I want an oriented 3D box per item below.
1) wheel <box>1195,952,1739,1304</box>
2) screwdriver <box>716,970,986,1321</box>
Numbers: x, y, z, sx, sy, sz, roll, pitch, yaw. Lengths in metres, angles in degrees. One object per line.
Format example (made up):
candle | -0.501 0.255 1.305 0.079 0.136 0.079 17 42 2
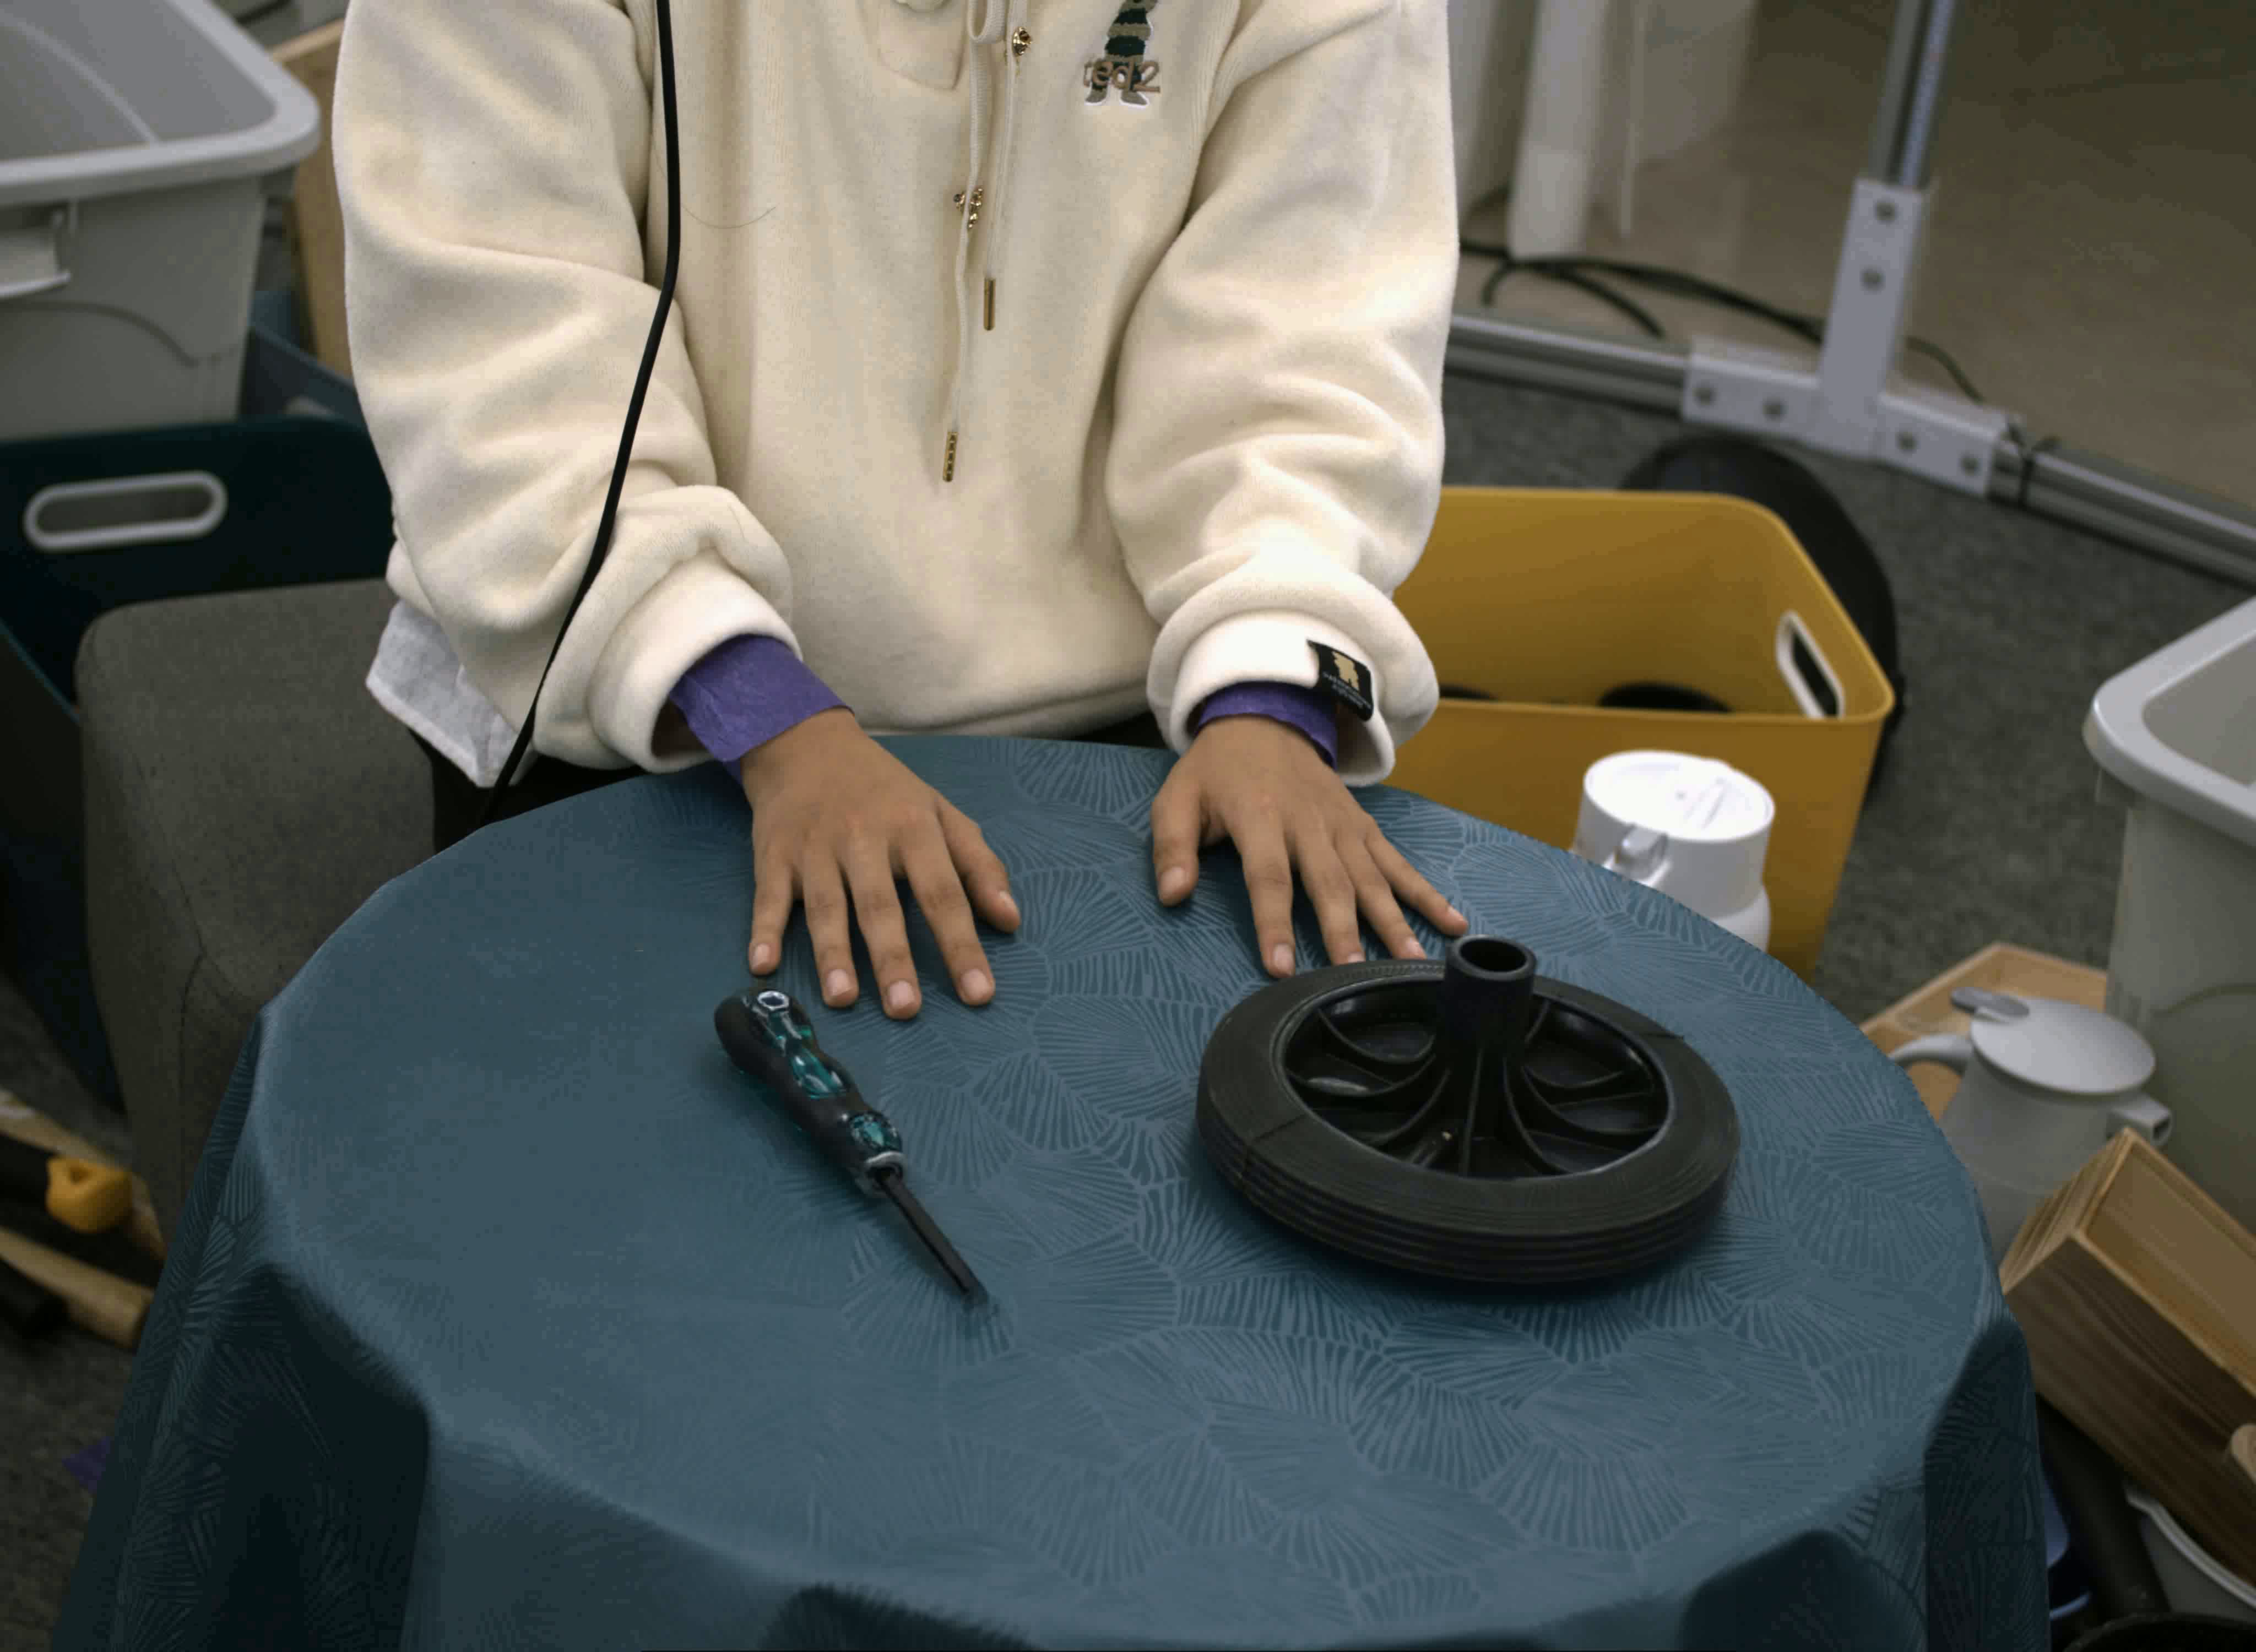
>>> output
wheel | 0.119 0.085 1.823 0.187 0.079 0.191 6 29 0
screwdriver | -0.091 0.109 1.787 0.033 0.033 0.192 -8 36 -28
